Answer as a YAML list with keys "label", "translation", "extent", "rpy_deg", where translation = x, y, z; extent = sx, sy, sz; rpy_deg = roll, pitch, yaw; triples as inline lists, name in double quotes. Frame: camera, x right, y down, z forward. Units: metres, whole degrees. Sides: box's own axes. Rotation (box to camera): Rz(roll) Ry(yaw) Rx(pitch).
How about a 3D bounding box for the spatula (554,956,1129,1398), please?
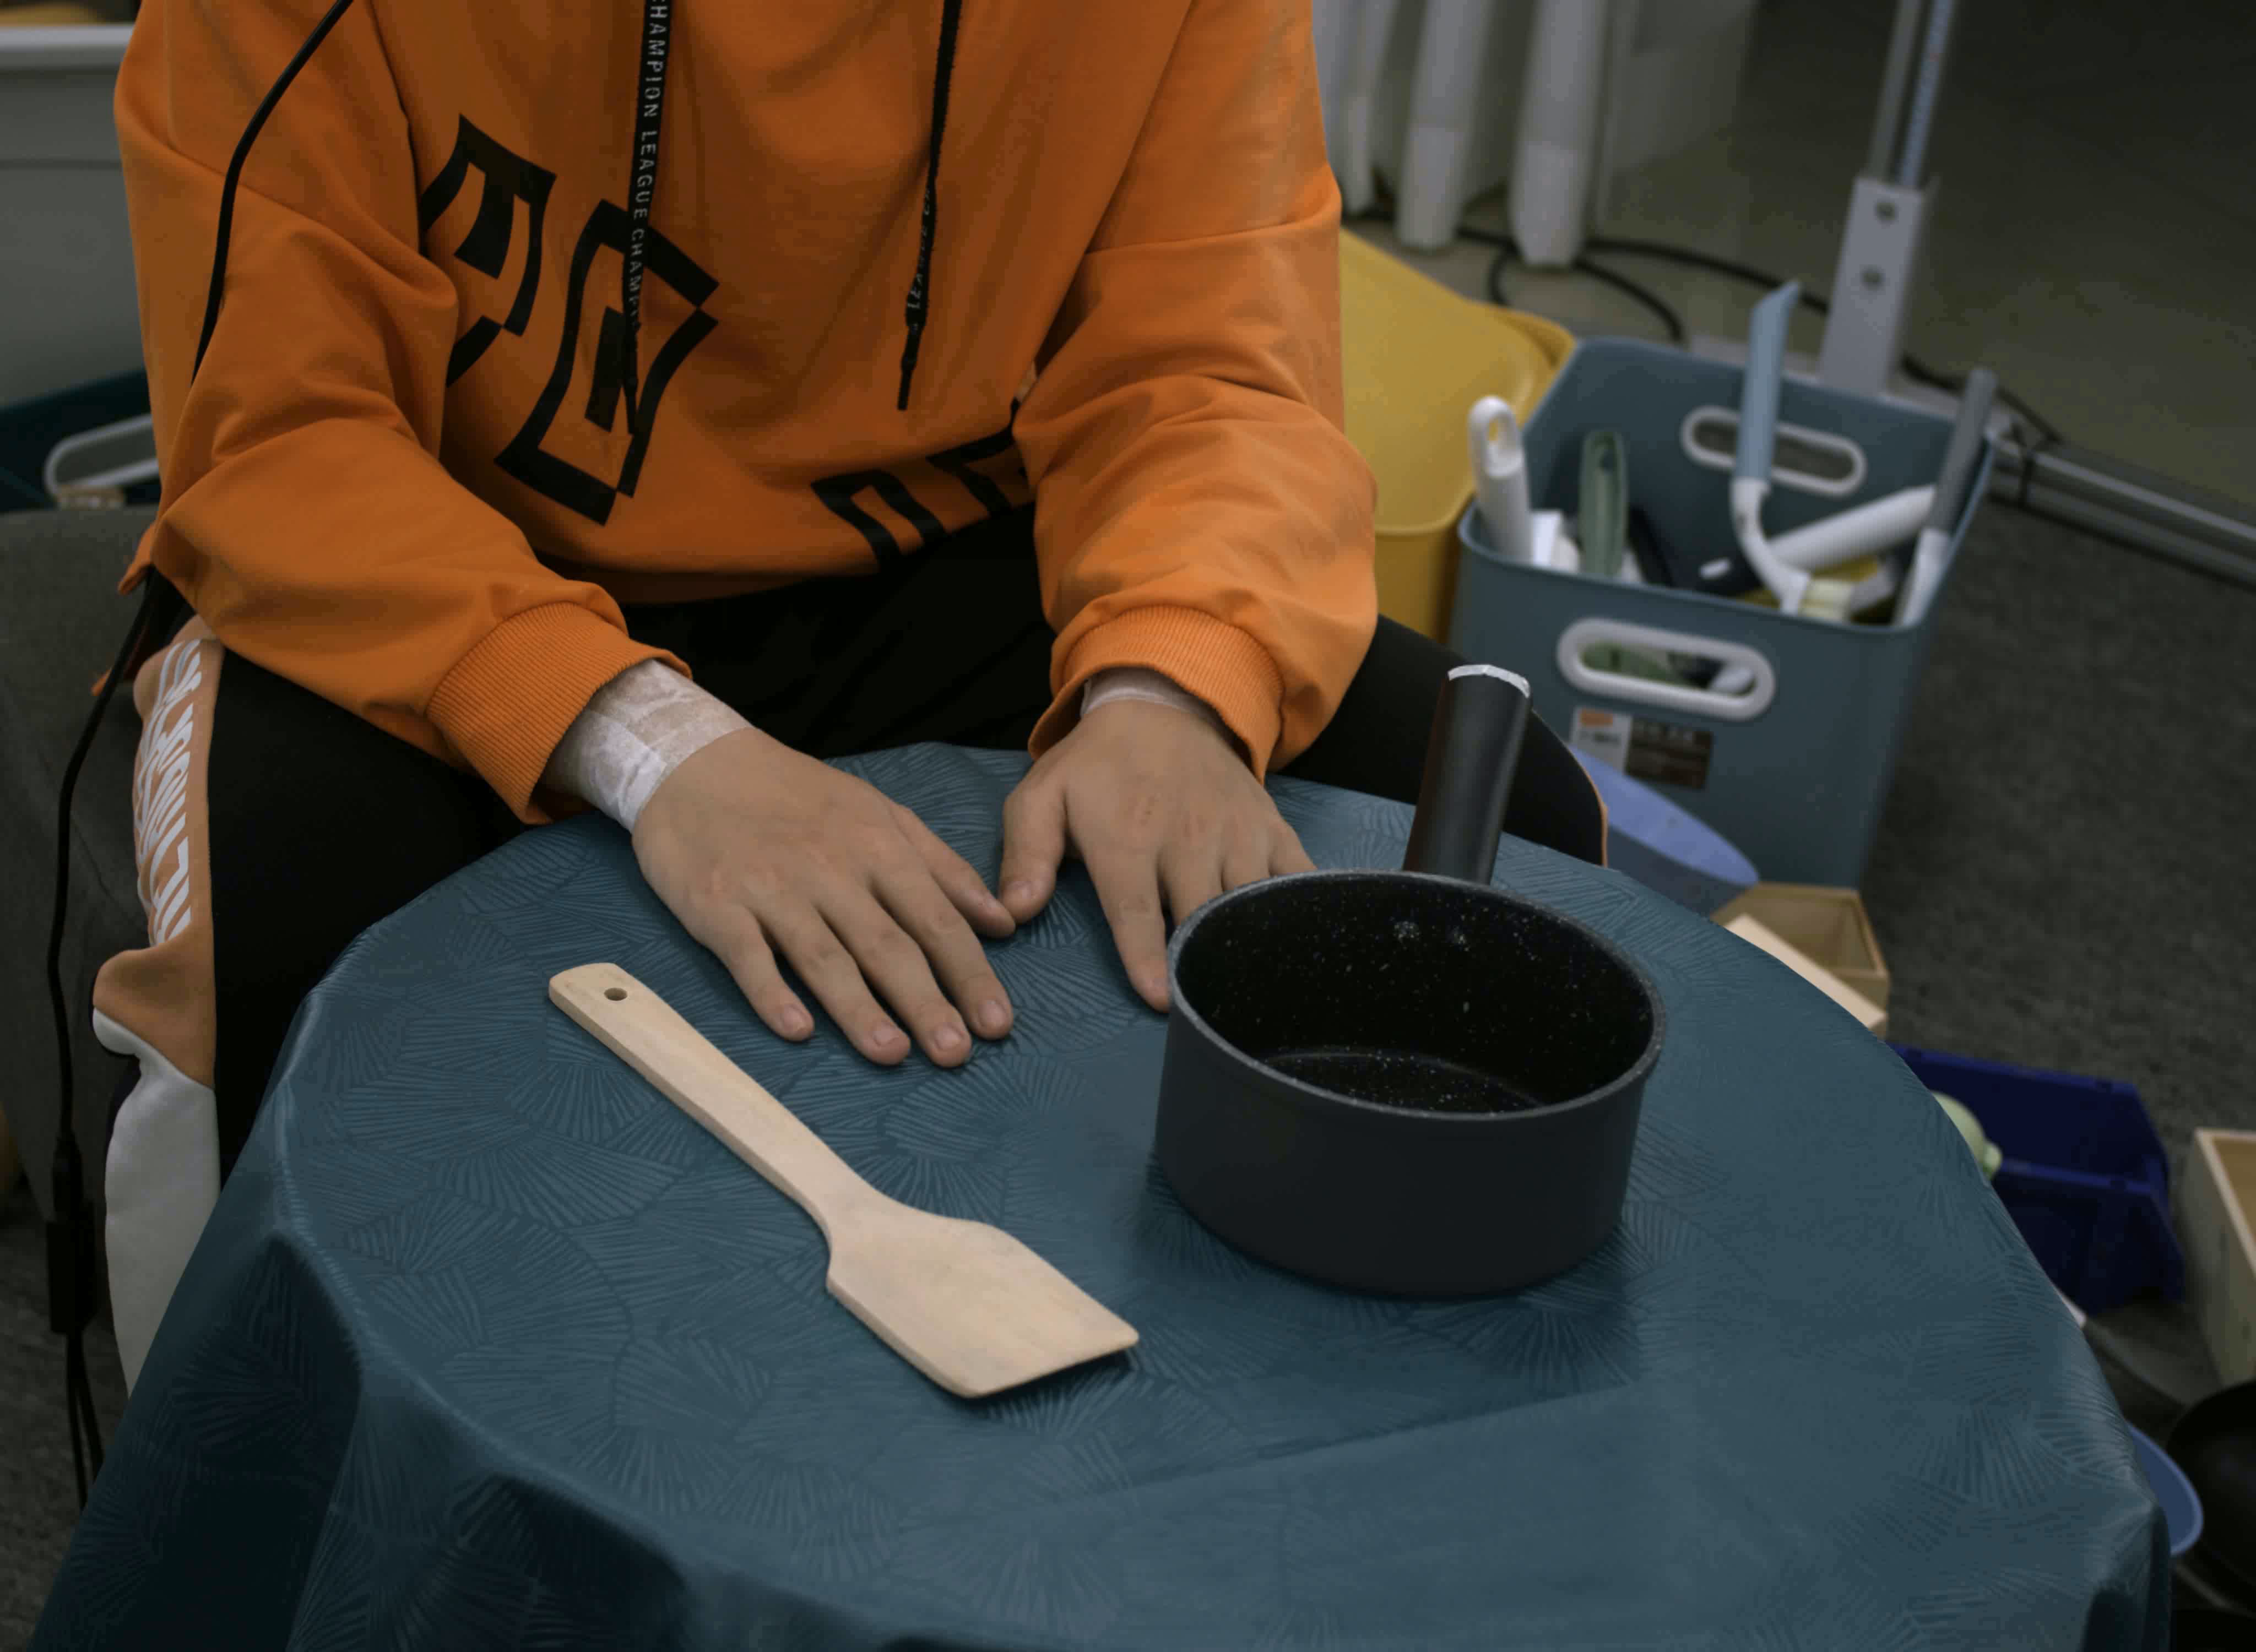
- label: "spatula"
  translation: [-0.111, 0.113, 1.789]
  extent: [0.072, 0.010, 0.295]
  rpy_deg: [-17, 35, -32]

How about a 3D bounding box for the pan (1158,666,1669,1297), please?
- label: "pan"
  translation: [0.109, 0.050, 1.879]
  extent: [0.172, 0.086, 0.330]
  rpy_deg: [11, 29, 8]
